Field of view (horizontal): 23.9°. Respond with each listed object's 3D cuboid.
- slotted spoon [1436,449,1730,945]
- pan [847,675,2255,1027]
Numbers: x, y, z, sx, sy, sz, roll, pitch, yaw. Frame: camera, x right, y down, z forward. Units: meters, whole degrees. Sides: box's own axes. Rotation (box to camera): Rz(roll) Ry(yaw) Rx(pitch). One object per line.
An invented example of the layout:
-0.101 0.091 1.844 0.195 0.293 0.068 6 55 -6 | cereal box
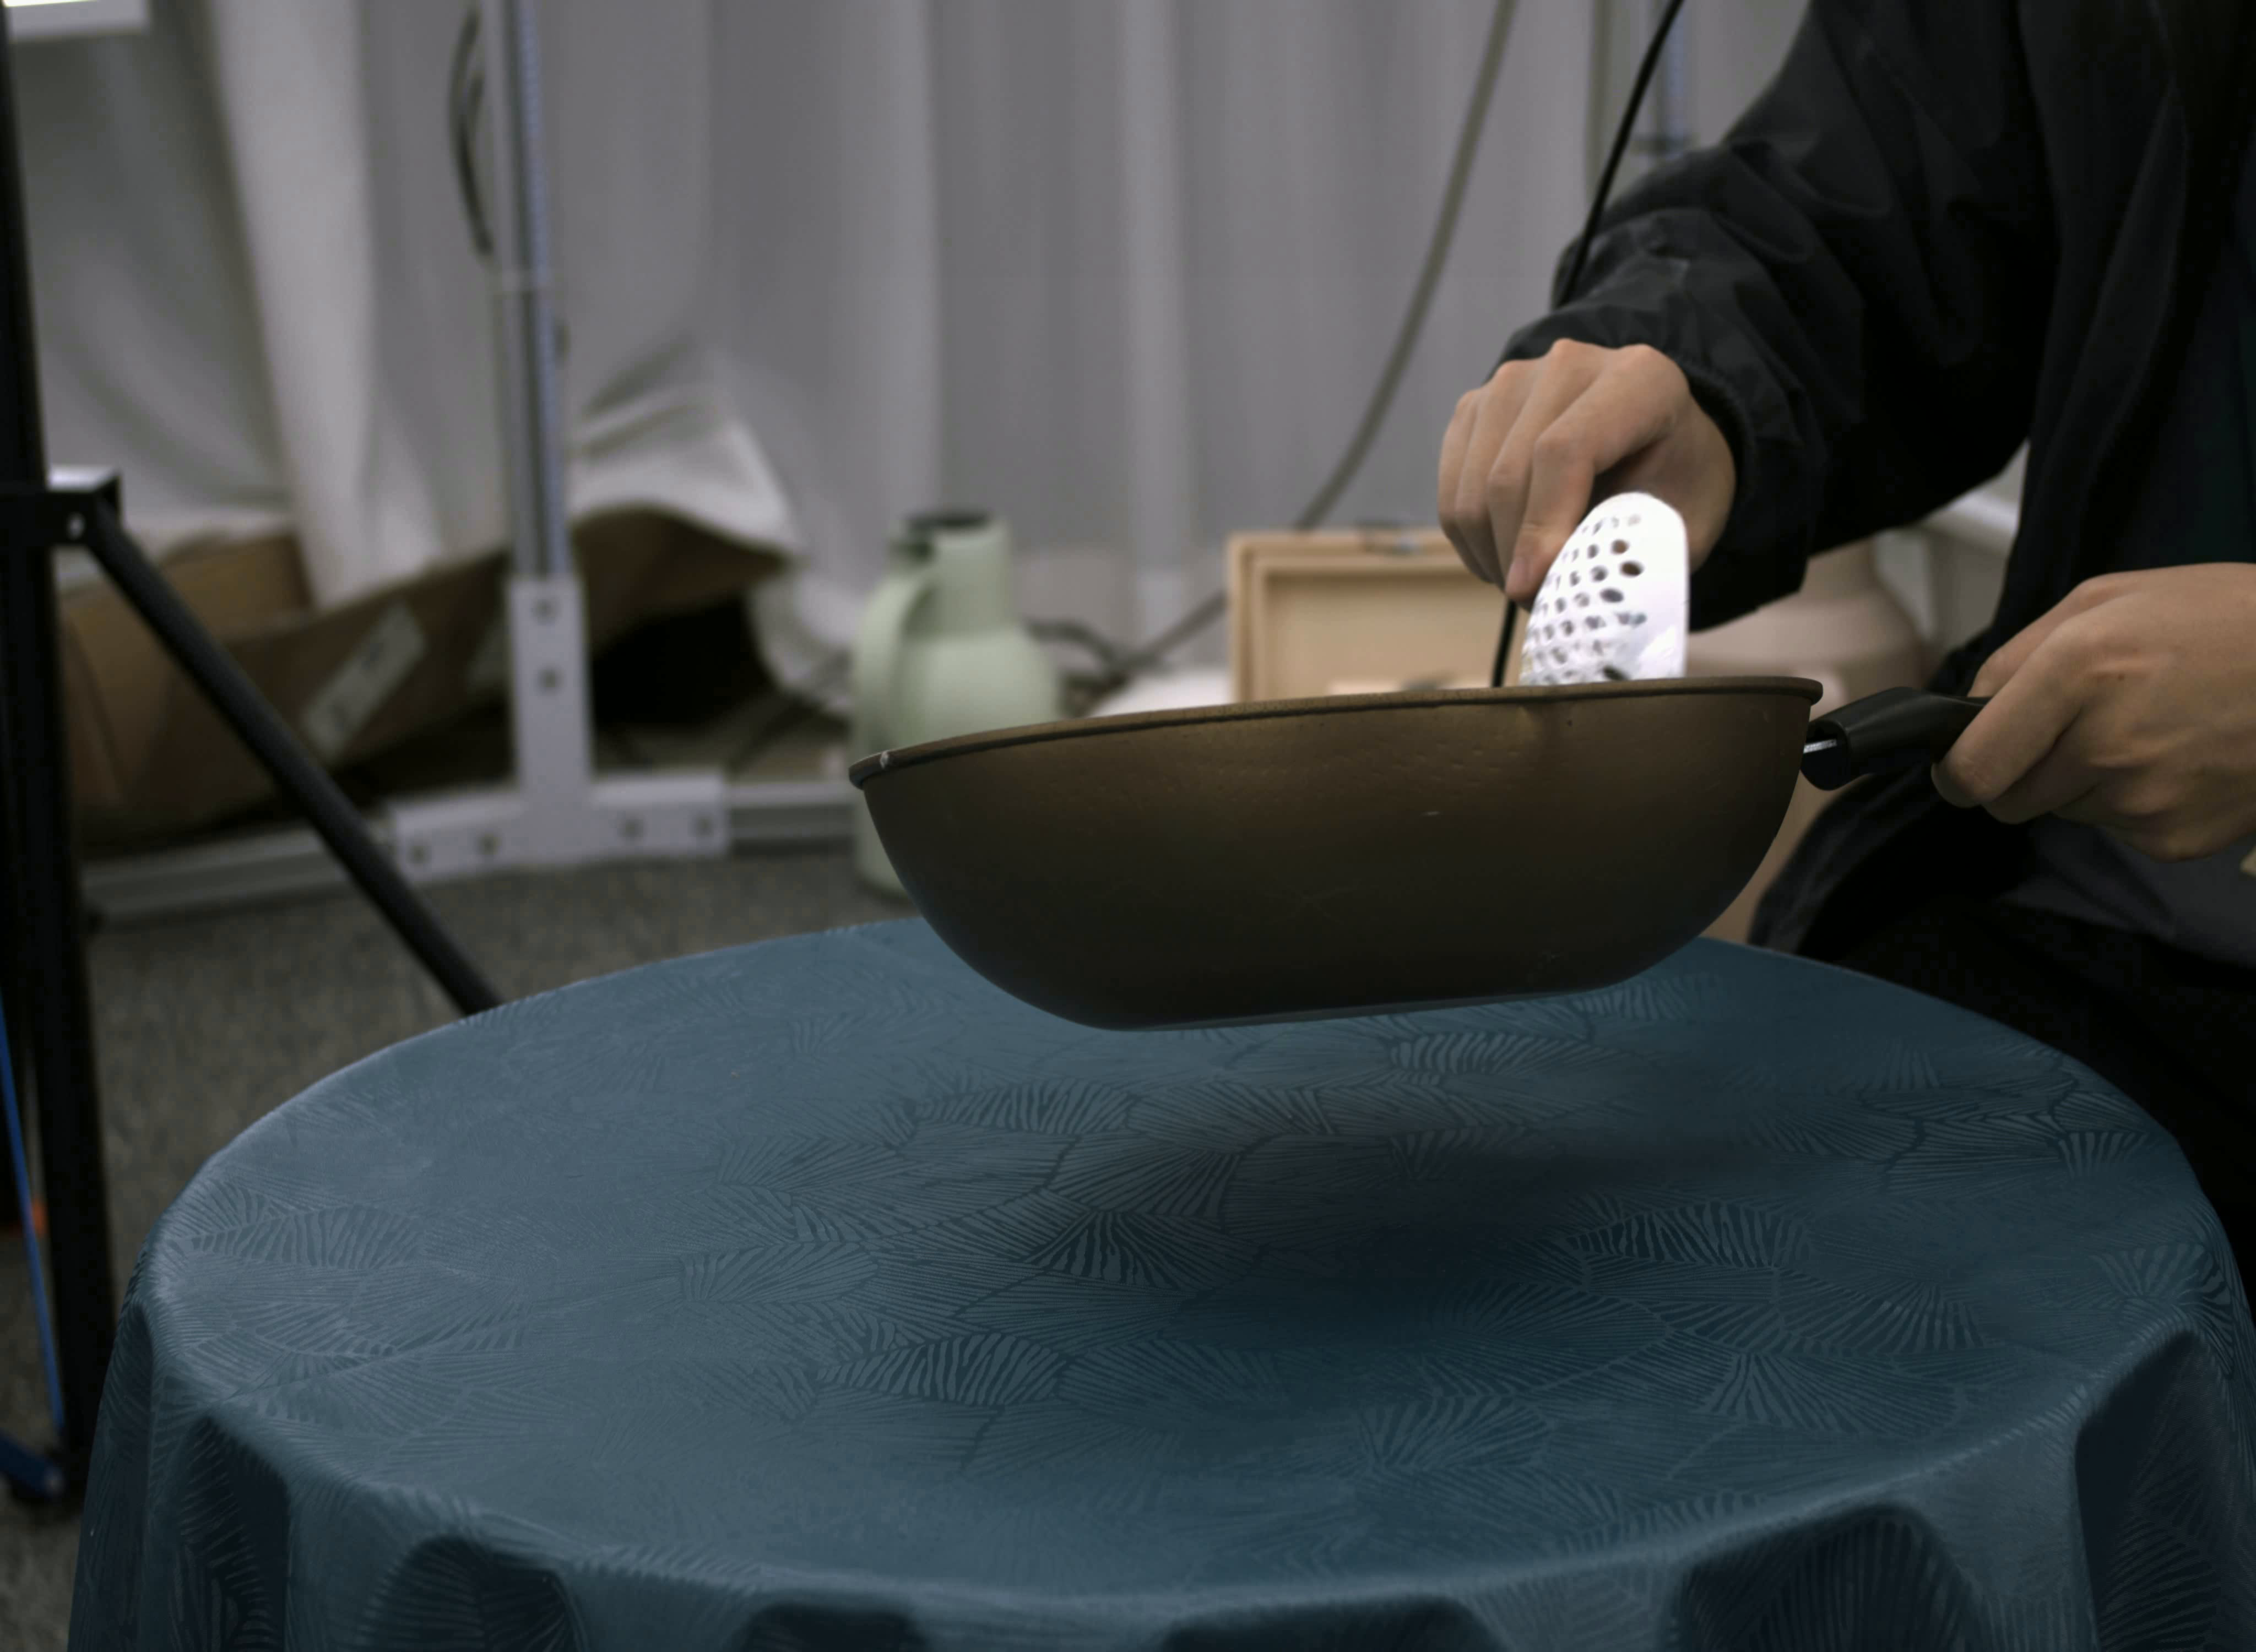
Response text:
0.132 -0.064 1.592 0.050 0.137 0.349 -1 15 -2 | slotted spoon
0.145 0.007 1.540 0.454 0.087 0.292 -2 -4 -20 | pan
